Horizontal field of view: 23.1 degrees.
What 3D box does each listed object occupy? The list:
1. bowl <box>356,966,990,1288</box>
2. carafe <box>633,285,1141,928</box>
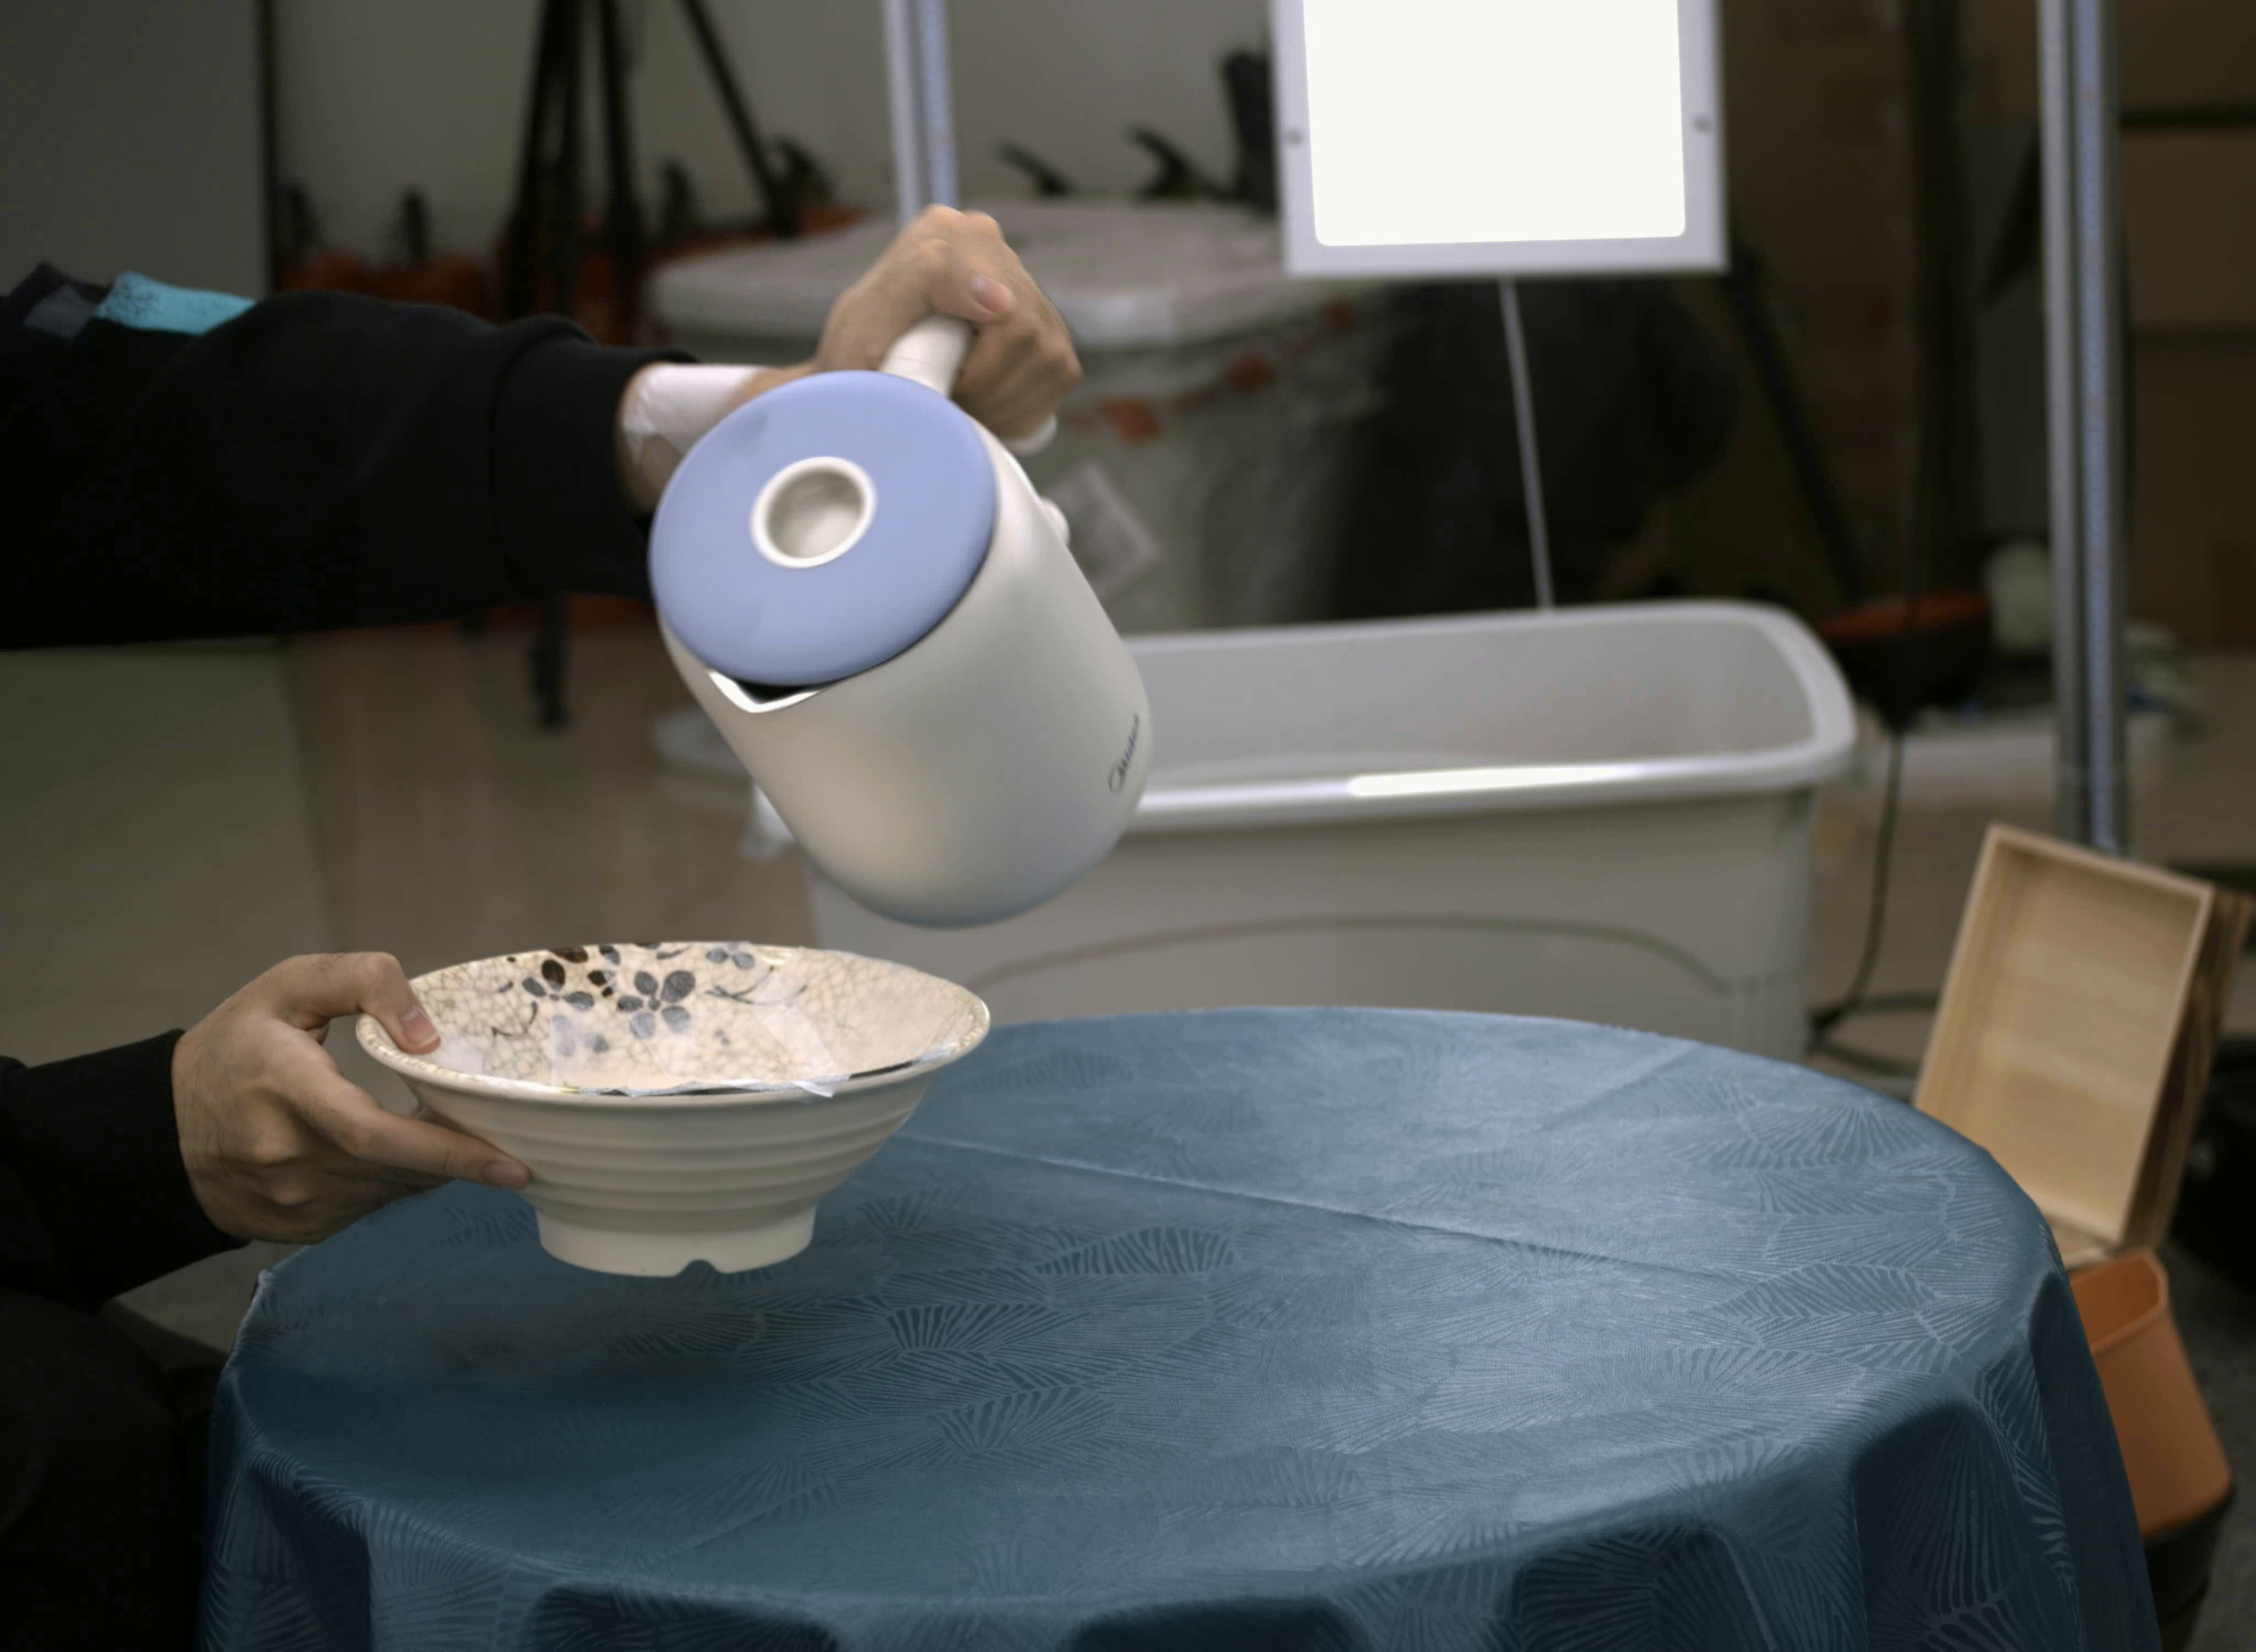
[{"bbox_3d":[-0.143,0.101,1.770,0.203,0.078,0.204,-4,9,-1],"label":"bowl"},{"bbox_3d":[-0.073,-0.081,1.843,0.134,0.190,0.181,6,-27,23],"label":"carafe"}]
